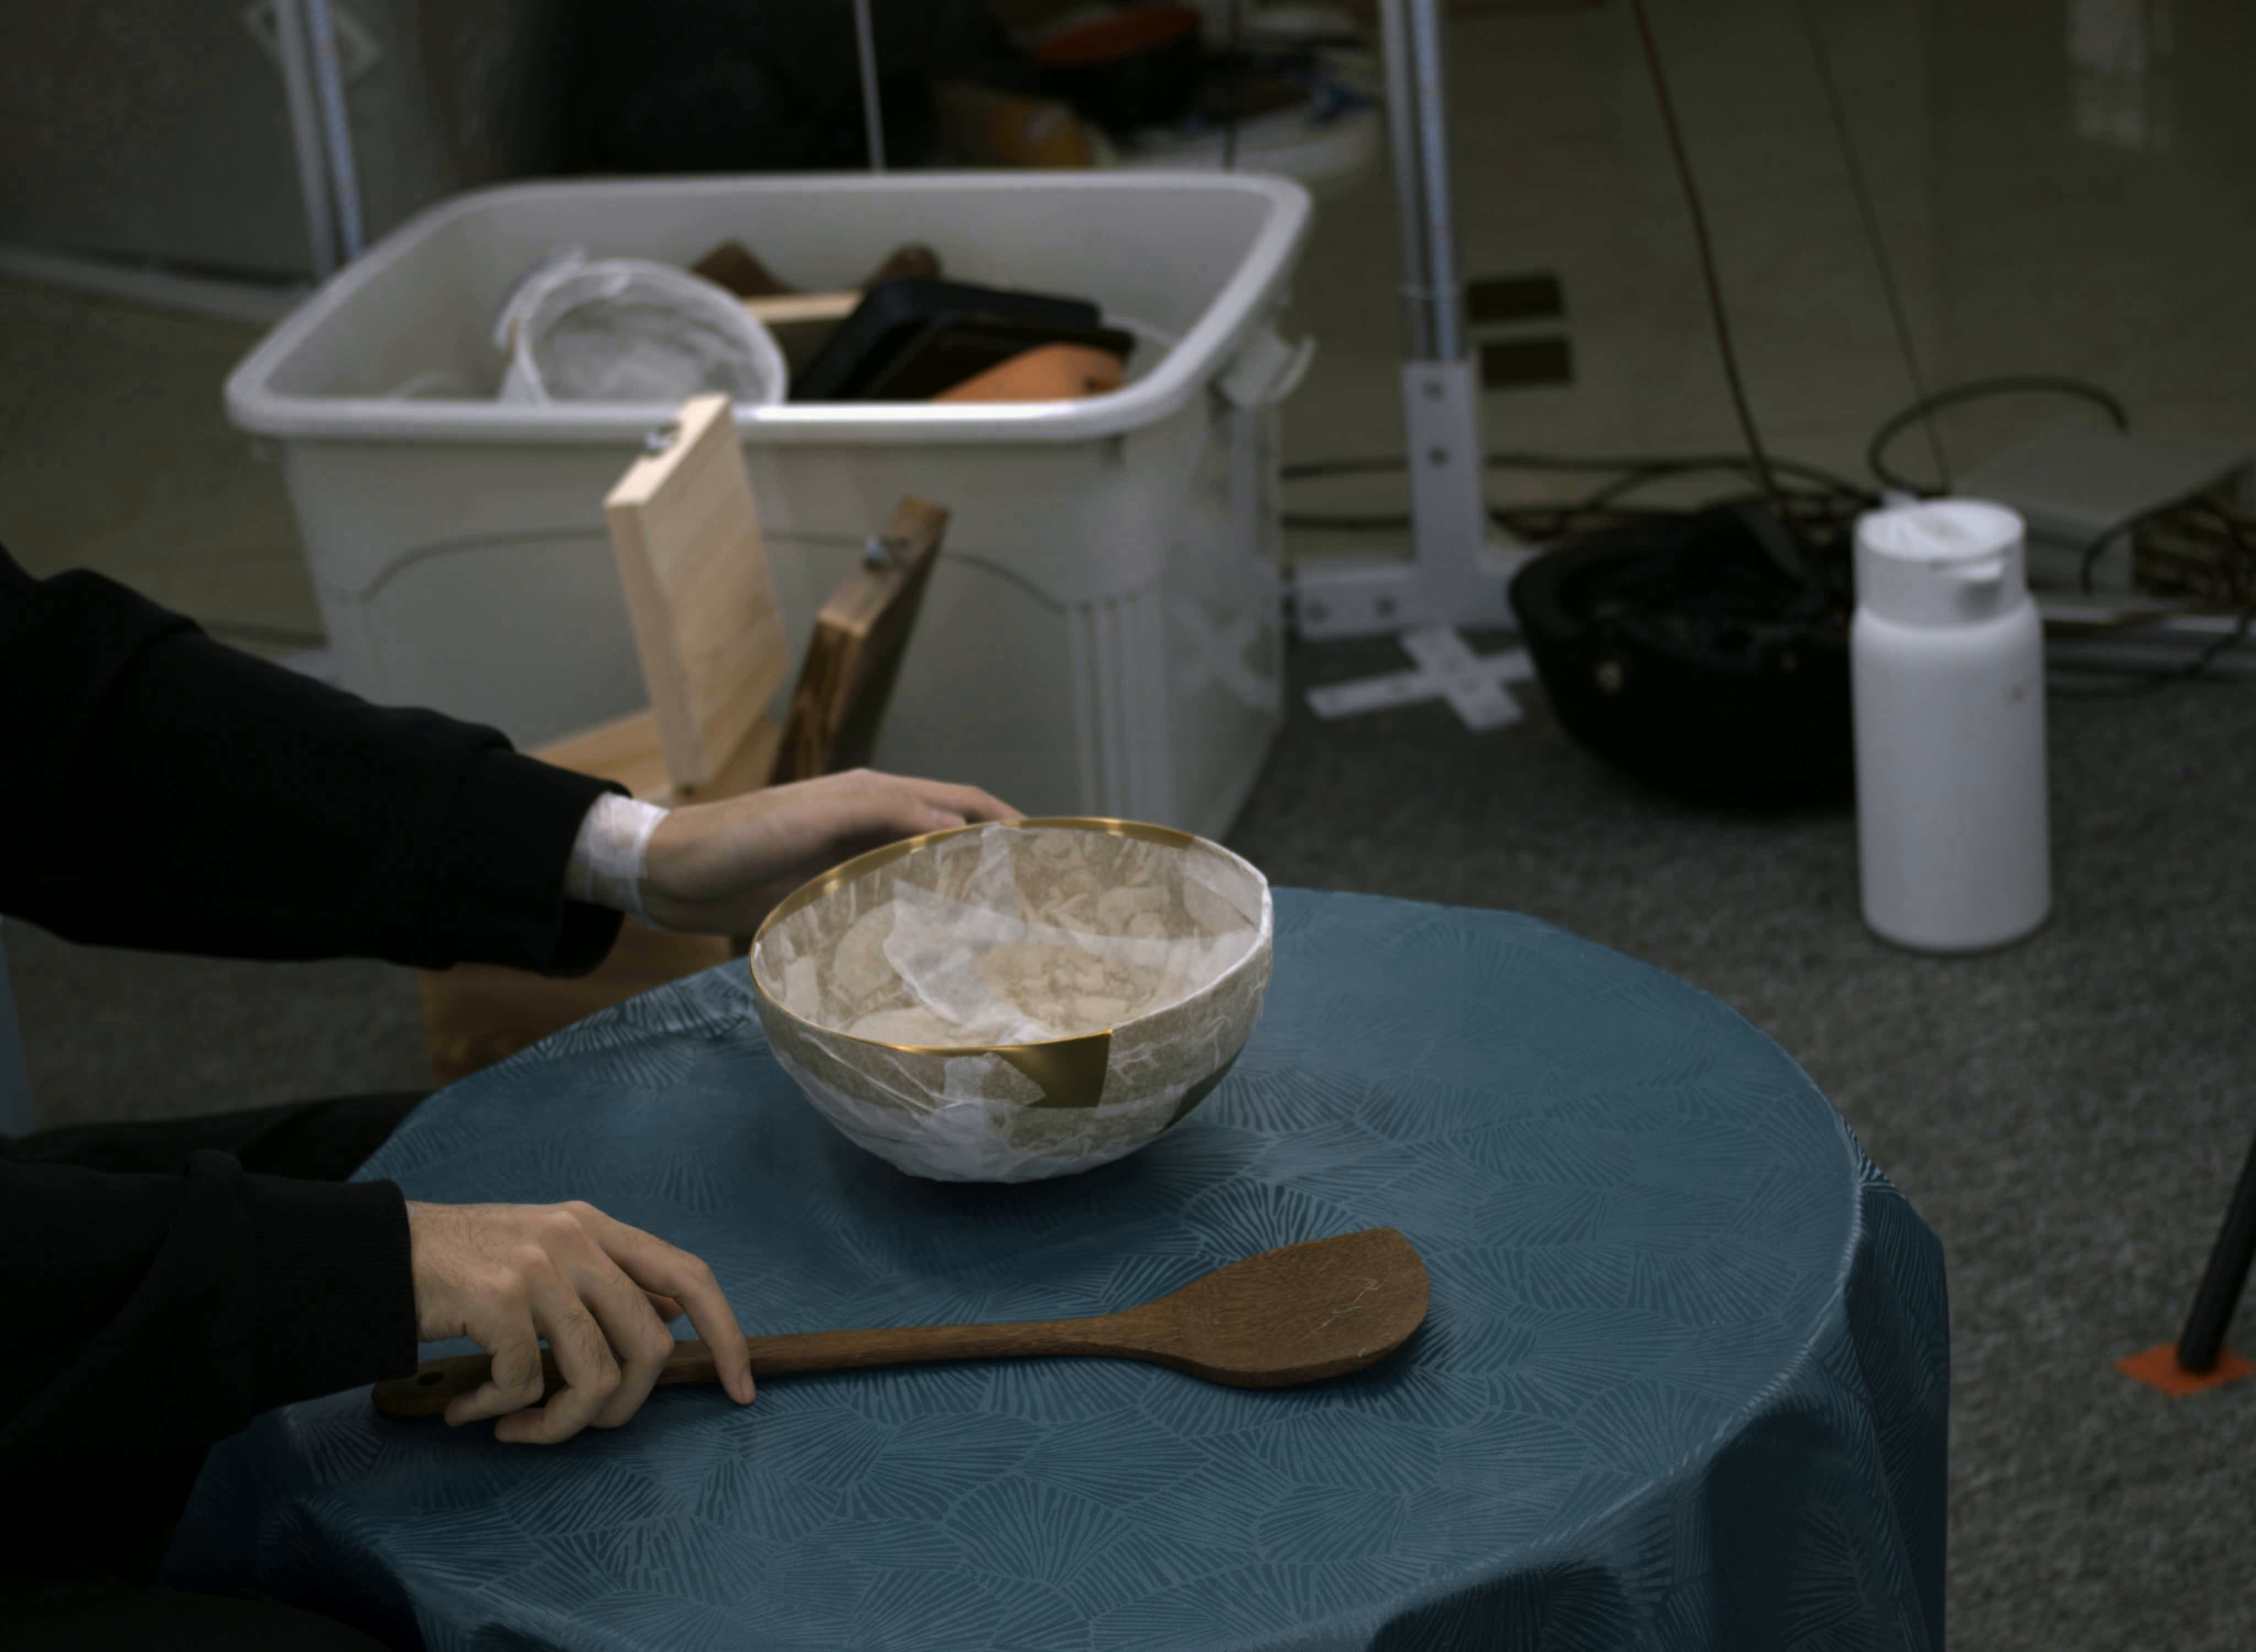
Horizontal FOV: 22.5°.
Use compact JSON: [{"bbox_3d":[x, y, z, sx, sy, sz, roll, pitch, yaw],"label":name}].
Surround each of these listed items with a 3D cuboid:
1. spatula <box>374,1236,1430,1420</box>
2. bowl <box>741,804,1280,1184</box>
[{"bbox_3d":[-0.083,0.188,2.050,0.385,0.016,0.095,-5,24,3],"label":"spatula"},{"bbox_3d":[-0.042,0.077,2.182,0.214,0.096,0.211,-6,26,3],"label":"bowl"}]
